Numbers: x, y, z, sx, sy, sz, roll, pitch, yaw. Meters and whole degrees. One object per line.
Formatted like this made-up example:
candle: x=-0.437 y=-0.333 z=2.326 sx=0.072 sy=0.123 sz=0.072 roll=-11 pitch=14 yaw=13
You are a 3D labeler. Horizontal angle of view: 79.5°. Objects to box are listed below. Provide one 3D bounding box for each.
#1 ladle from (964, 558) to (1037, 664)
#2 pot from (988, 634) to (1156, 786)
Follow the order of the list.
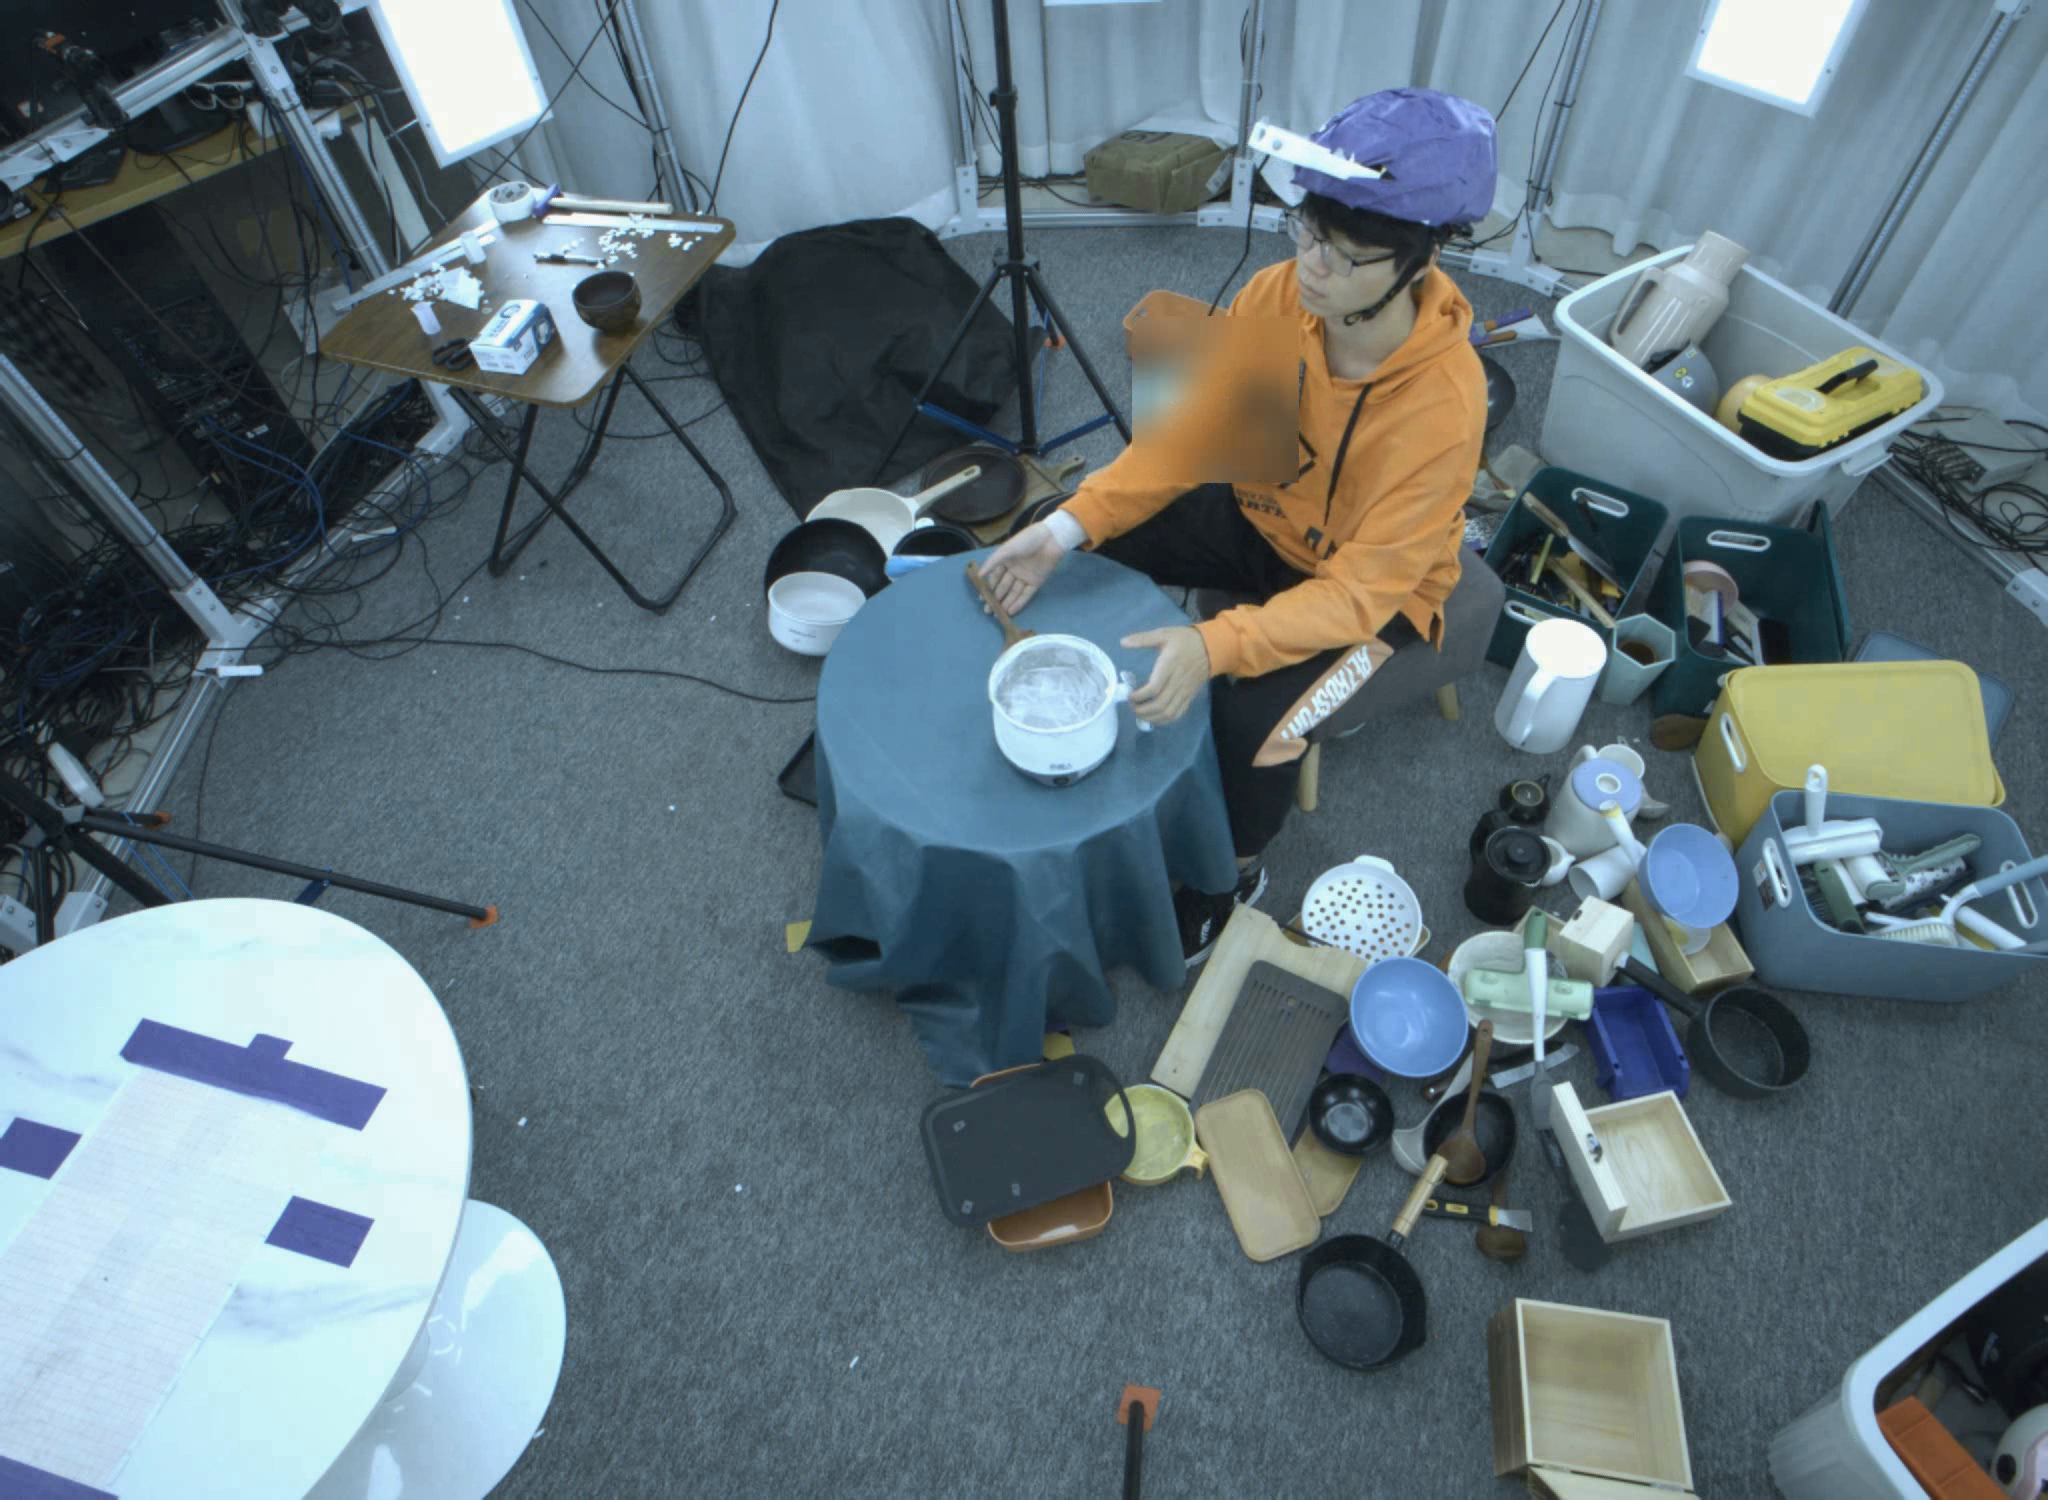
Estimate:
ladle: x=-0.050 y=-0.223 z=1.910 sx=0.076 sy=0.066 sz=0.255 roll=-35 pitch=58 yaw=10
pot: x=0.070 y=-0.059 z=1.741 sx=0.234 sy=0.138 sz=0.176 roll=-6 pitch=55 yaw=-1
